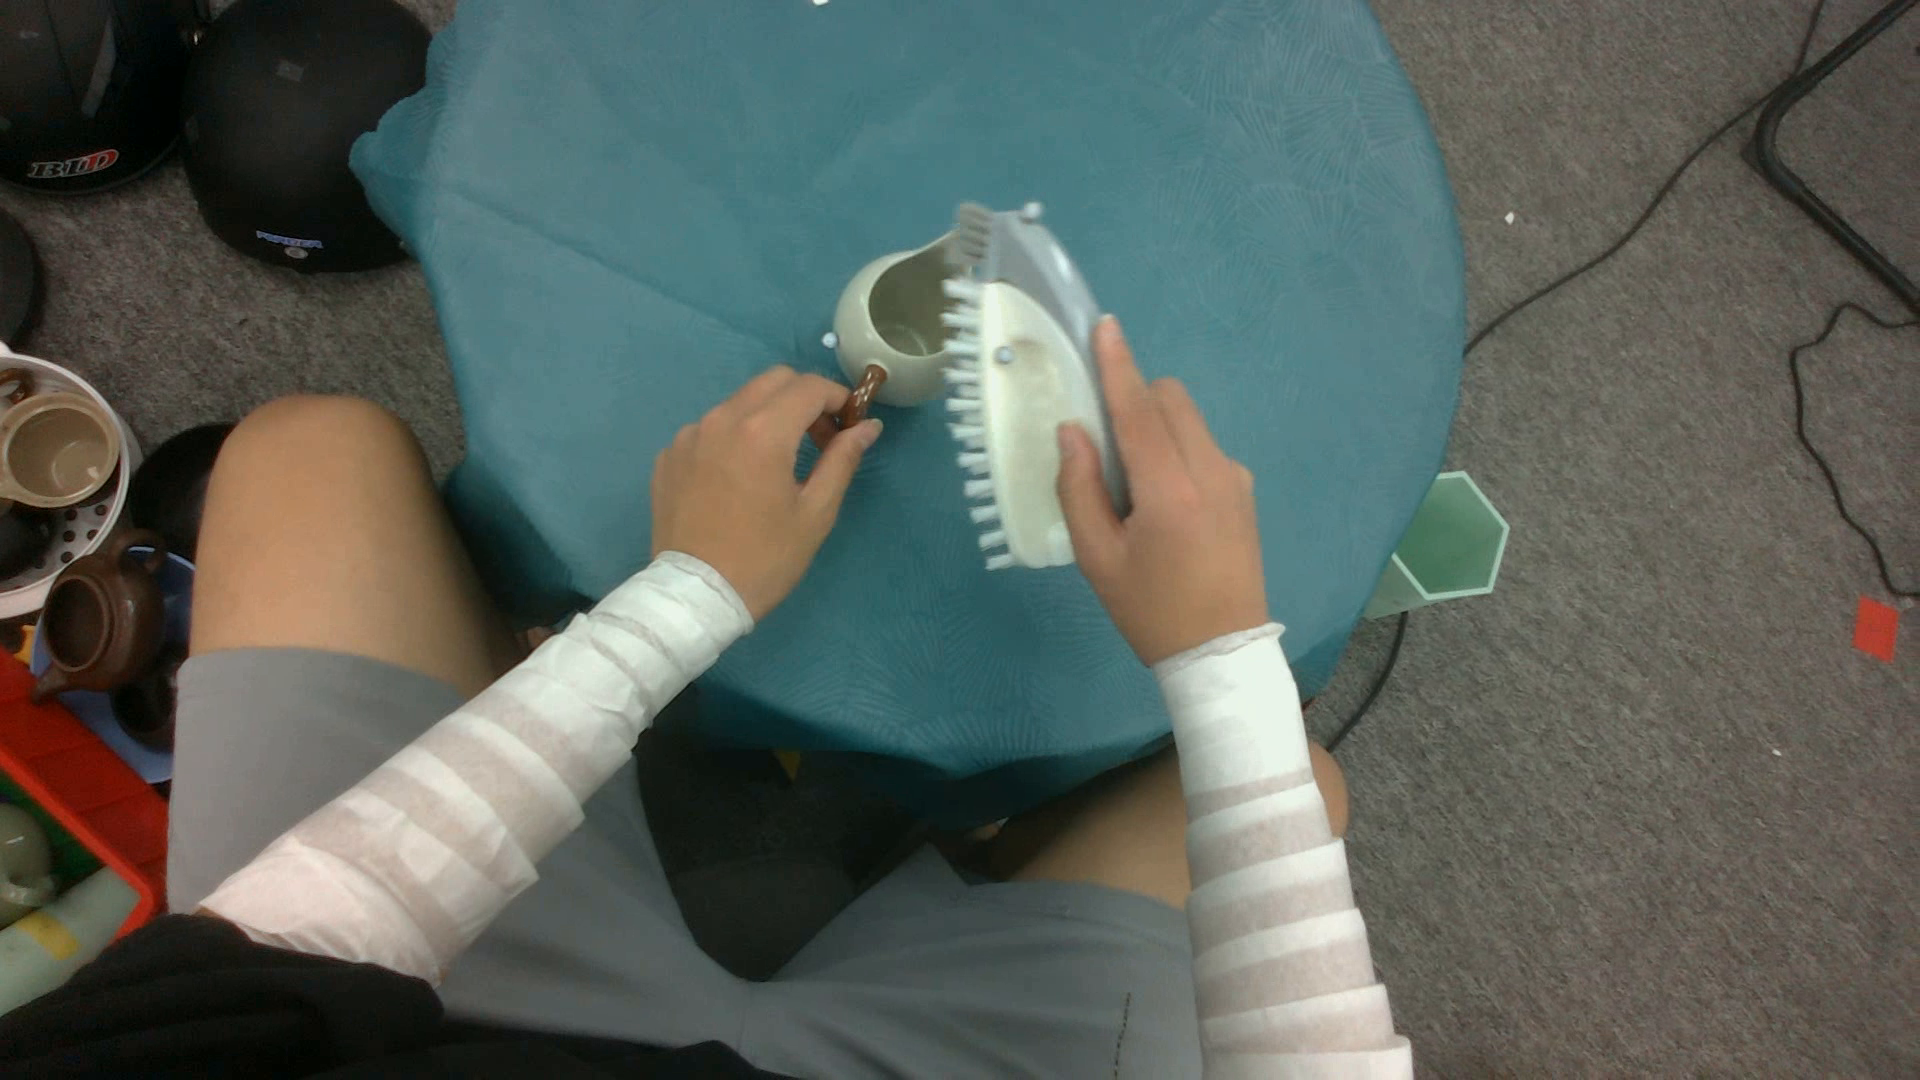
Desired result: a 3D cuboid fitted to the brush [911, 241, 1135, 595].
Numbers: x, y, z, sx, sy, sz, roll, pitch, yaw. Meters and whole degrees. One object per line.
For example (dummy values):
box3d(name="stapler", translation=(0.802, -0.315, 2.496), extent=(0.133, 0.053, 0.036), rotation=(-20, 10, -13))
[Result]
box3d(name="brush", translation=(0.031, -0.061, 0.646), extent=(0.062, 0.094, 0.175), rotation=(-25, 103, -37))

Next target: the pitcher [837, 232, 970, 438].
box3d(name="pitcher", translation=(-0.032, -0.097, 0.728), extent=(0.076, 0.087, 0.119), rotation=(31, 71, 1))
